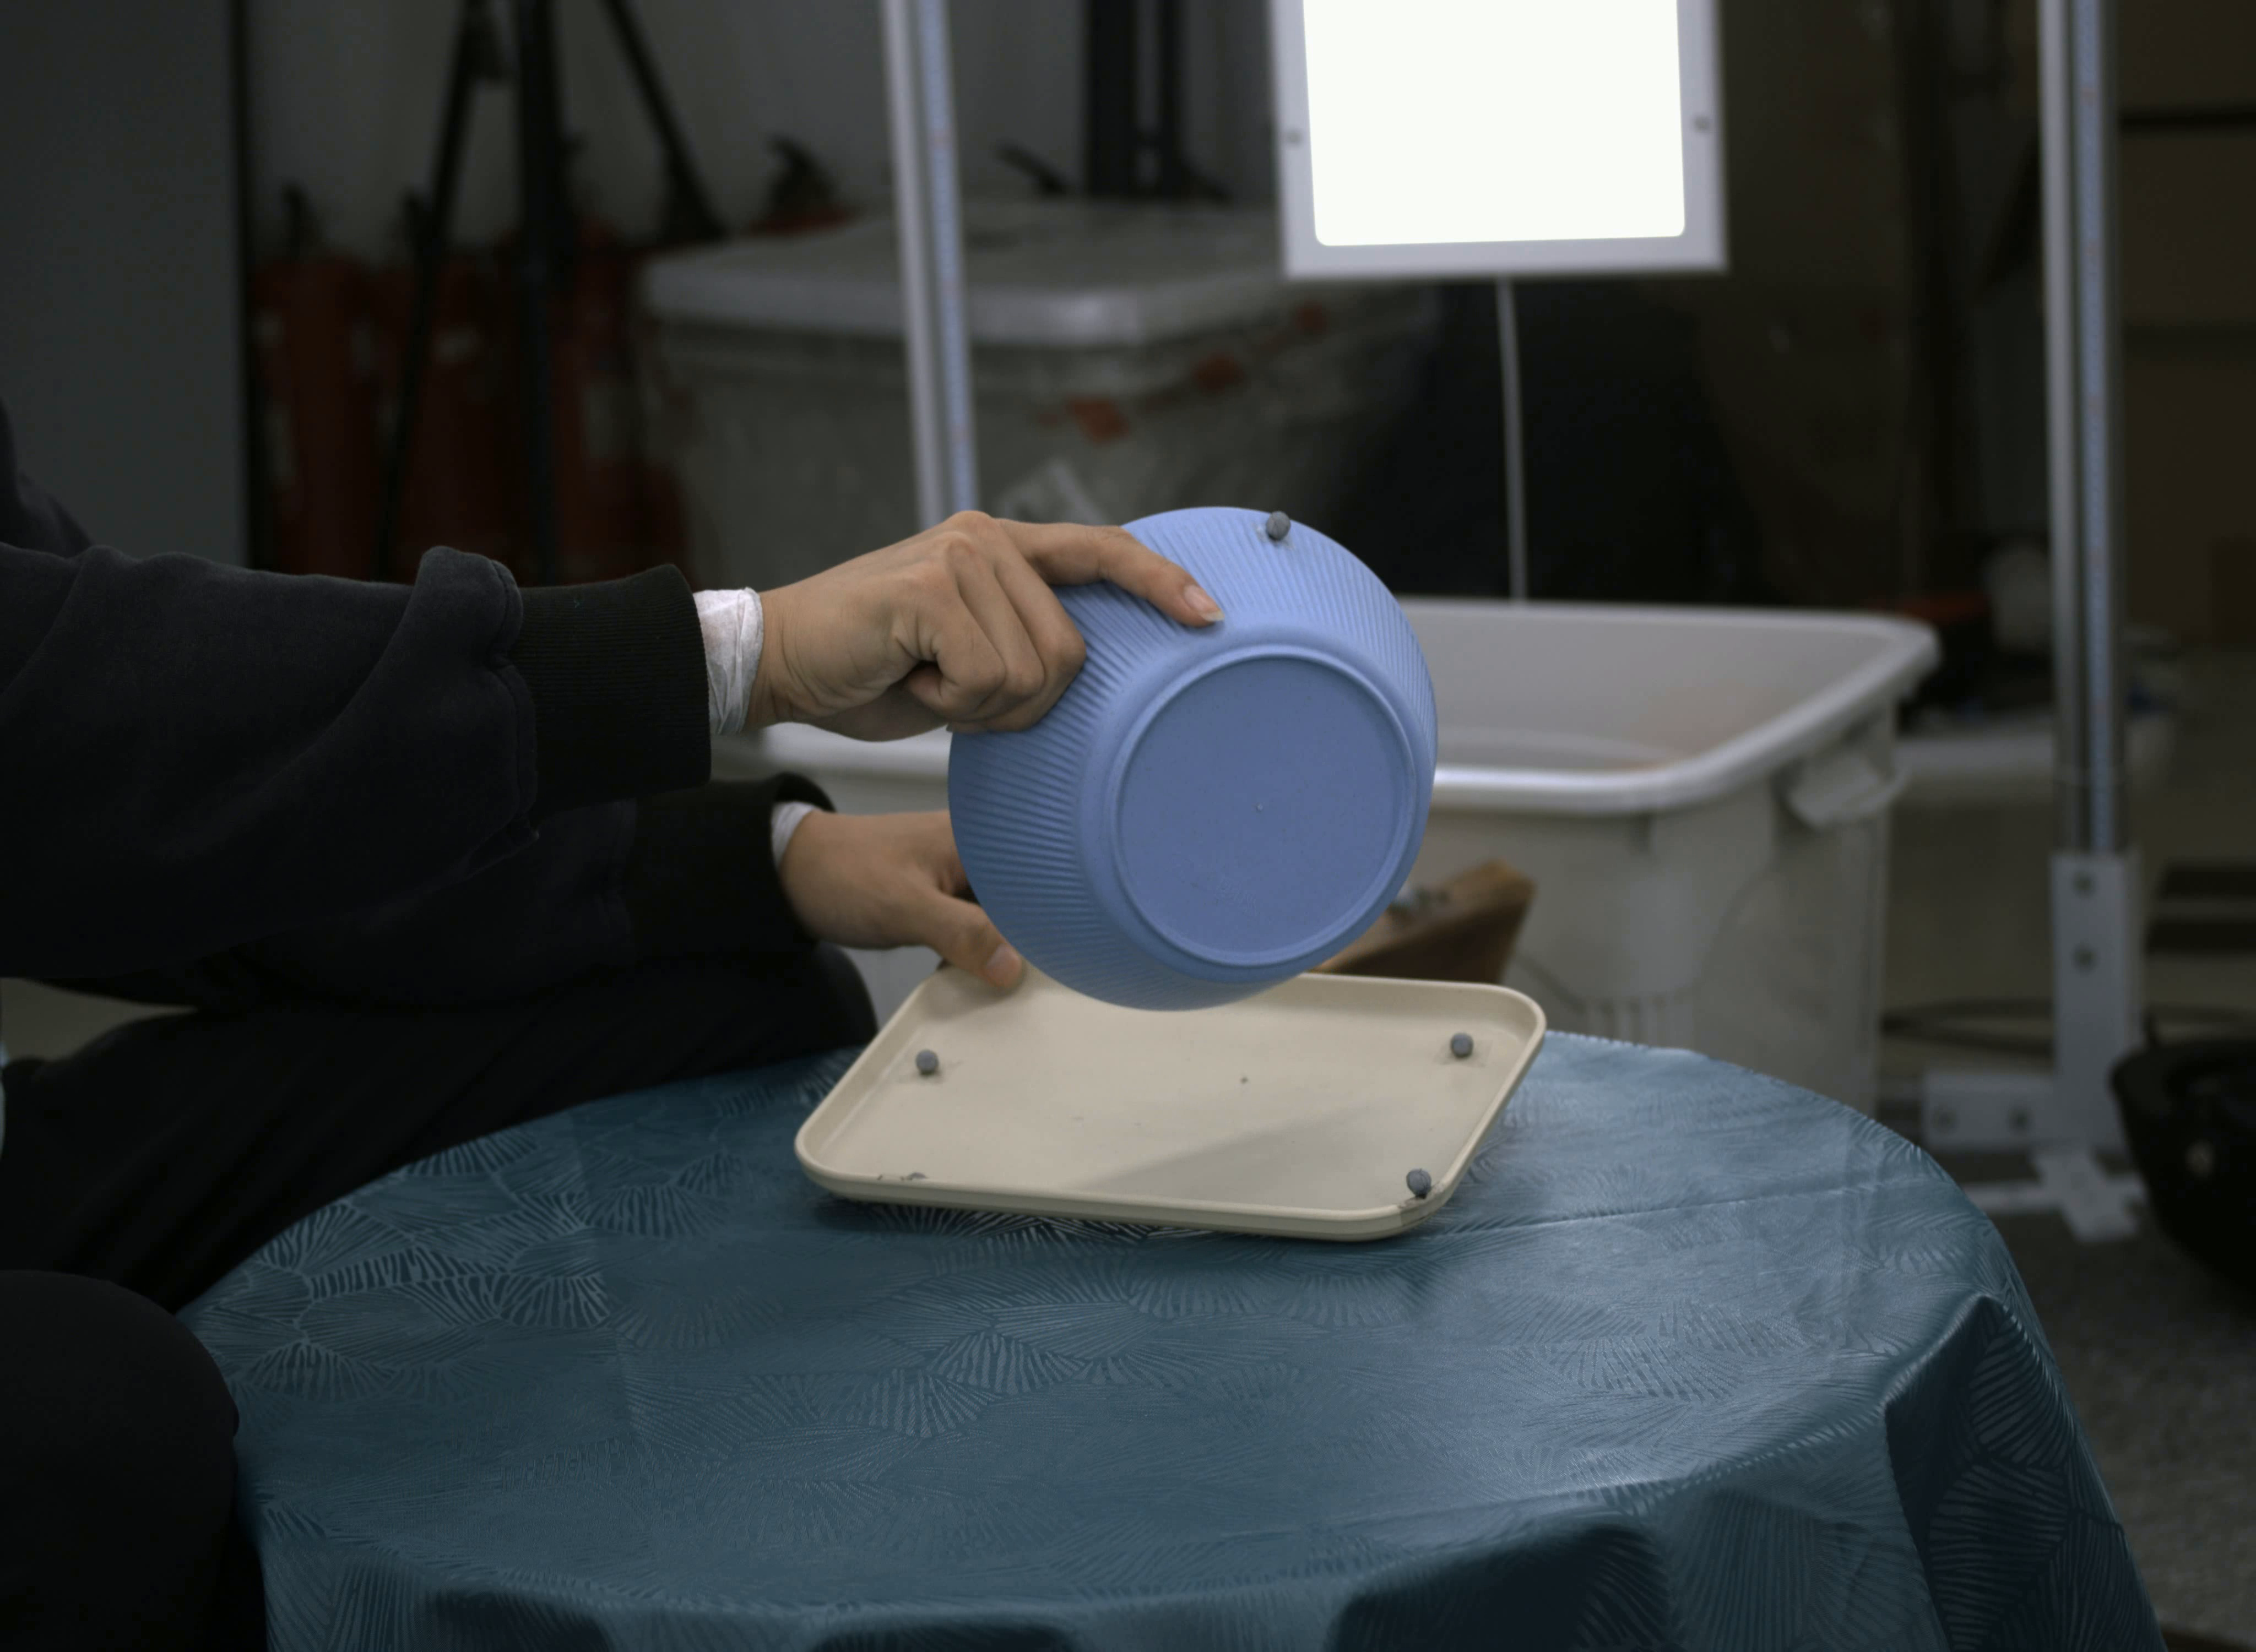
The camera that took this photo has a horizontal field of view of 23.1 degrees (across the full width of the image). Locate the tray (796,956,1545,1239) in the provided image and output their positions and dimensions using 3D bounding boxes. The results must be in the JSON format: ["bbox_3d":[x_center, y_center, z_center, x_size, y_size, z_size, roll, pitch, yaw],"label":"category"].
[{"bbox_3d":[0.017,0.094,1.920,0.243,0.017,0.168,3,26,23],"label":"tray"}]

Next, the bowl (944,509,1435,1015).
[{"bbox_3d":[0.031,-0.013,1.831,0.174,0.177,0.071,-7,17,-13],"label":"bowl"}]
